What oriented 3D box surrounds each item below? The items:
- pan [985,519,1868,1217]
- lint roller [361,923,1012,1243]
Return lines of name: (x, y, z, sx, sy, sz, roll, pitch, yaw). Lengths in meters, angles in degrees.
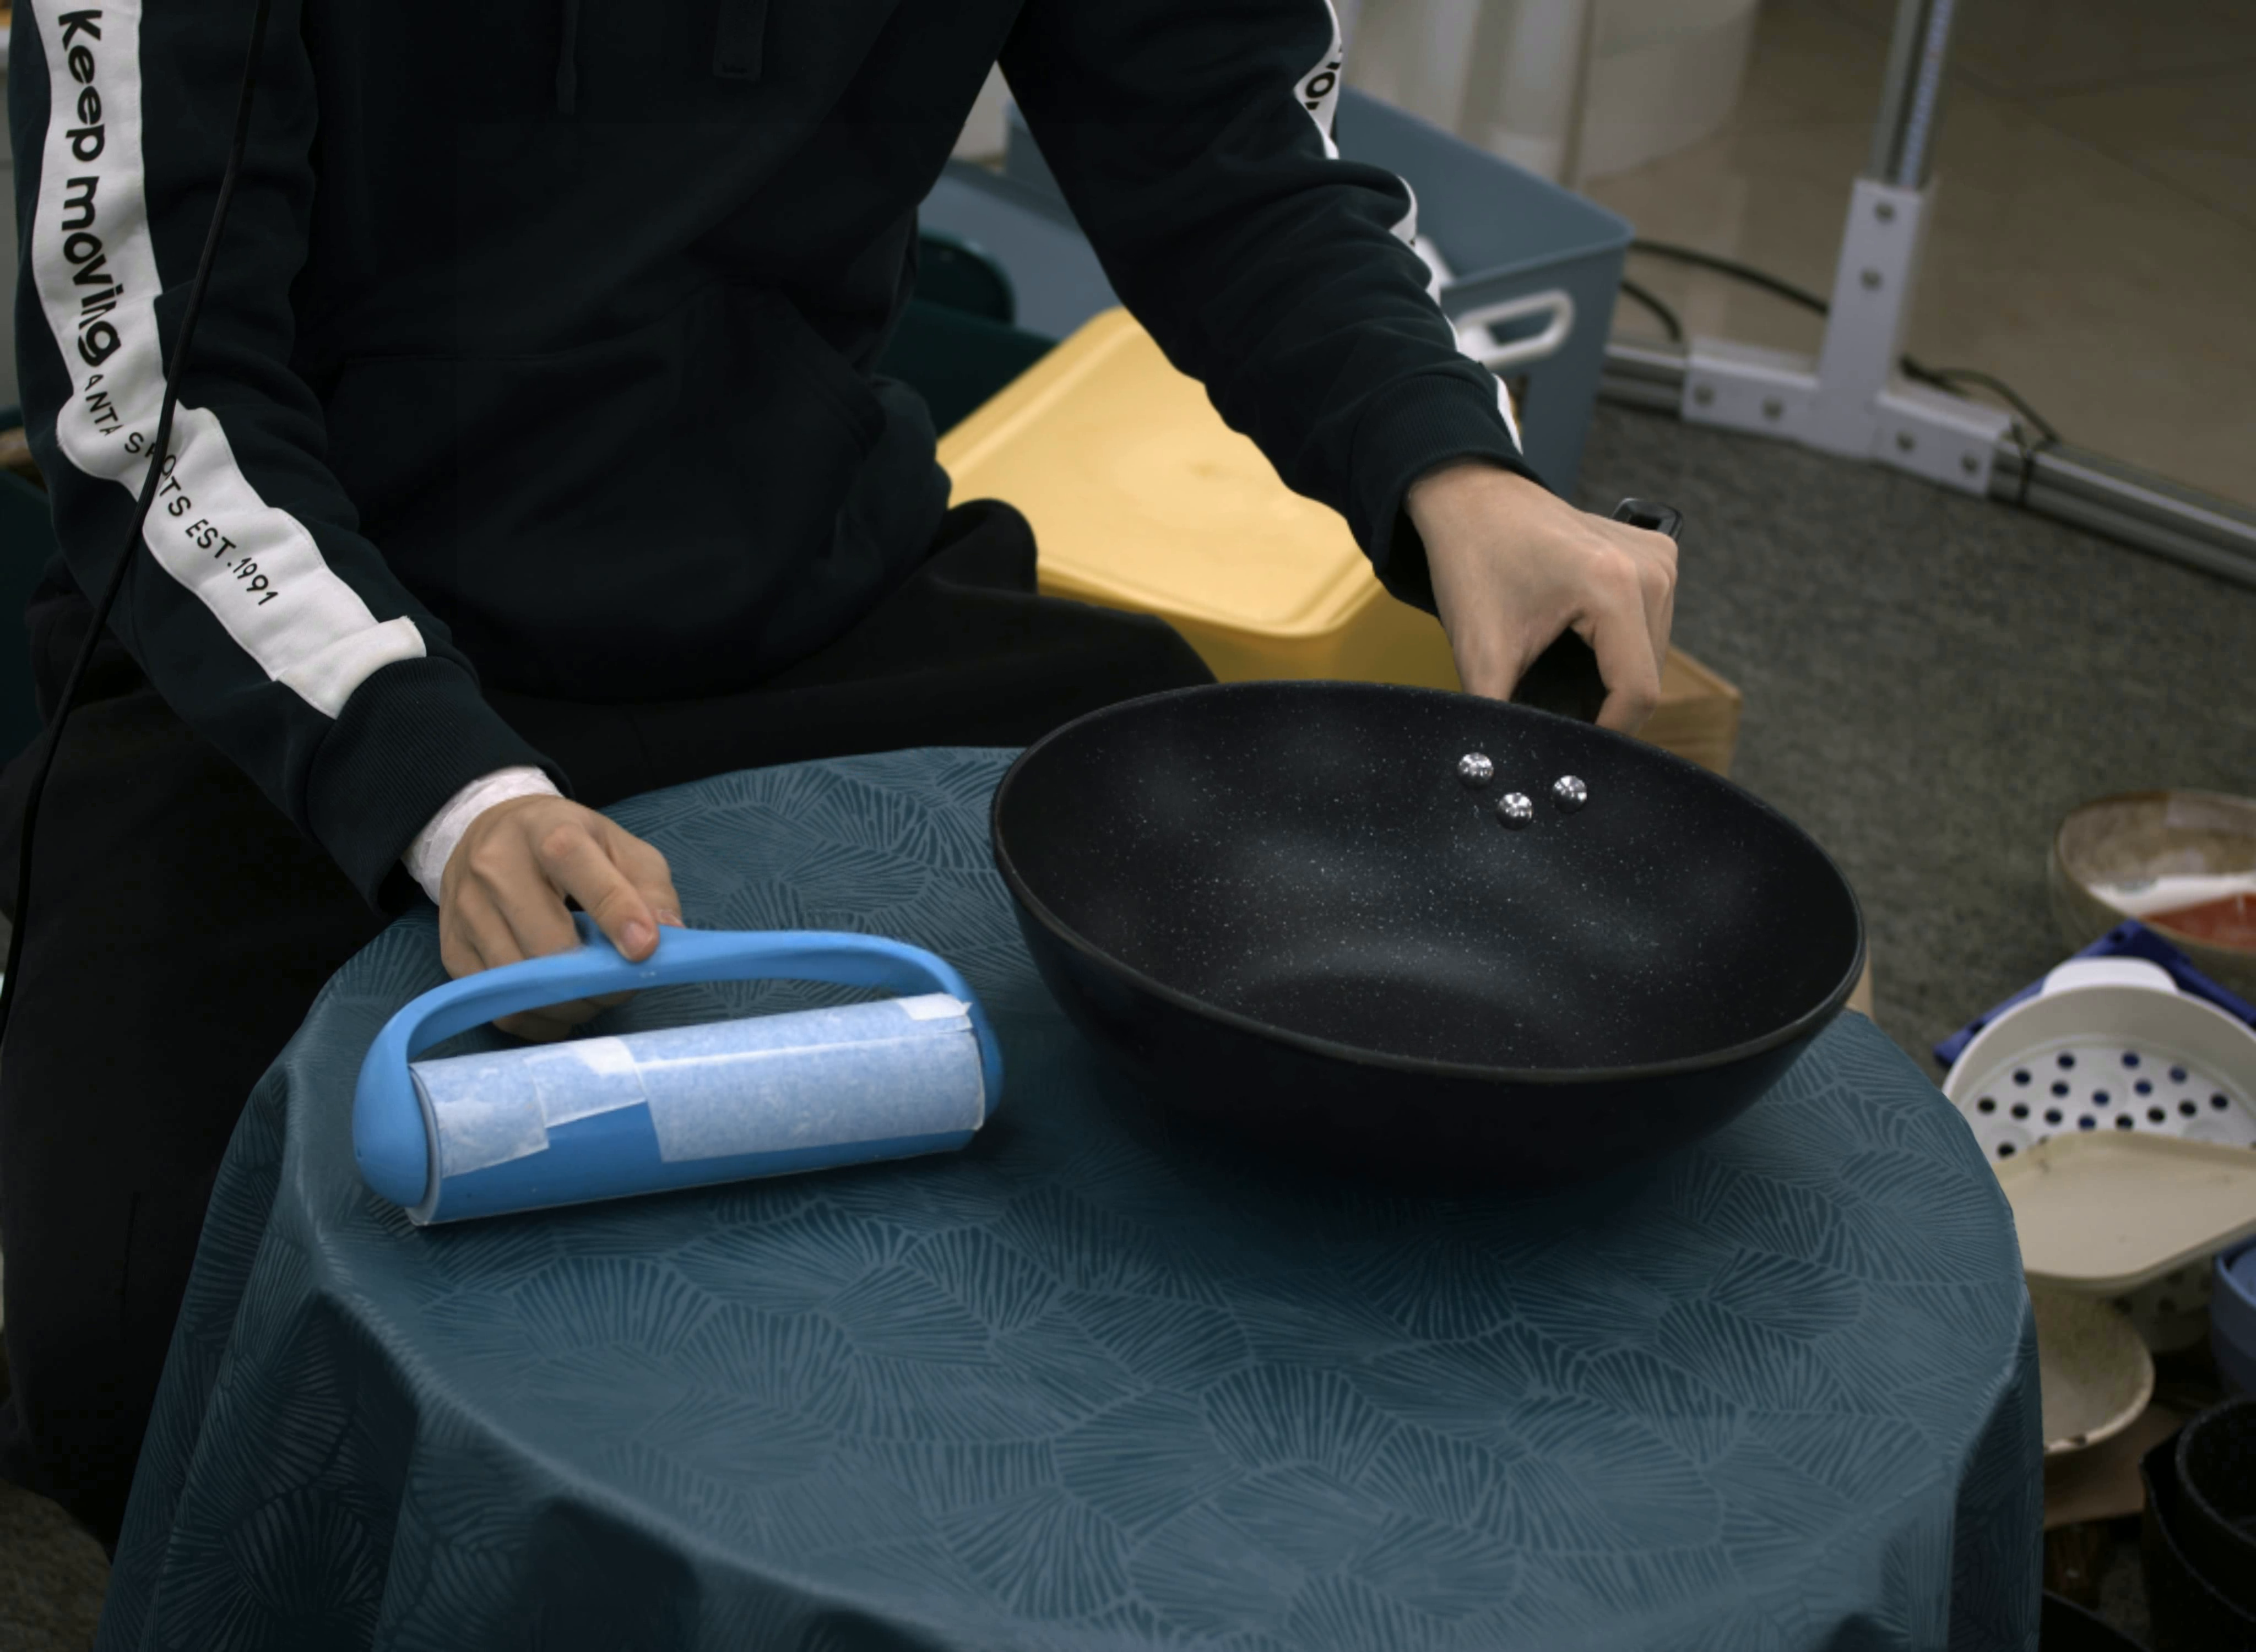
pan: (0.126, 0.014, 1.926, 0.310, 0.111, 0.477, 15, 26, 13)
lint roller: (-0.172, 0.068, 1.809, 0.227, 0.067, 0.182, -11, 32, -26)
